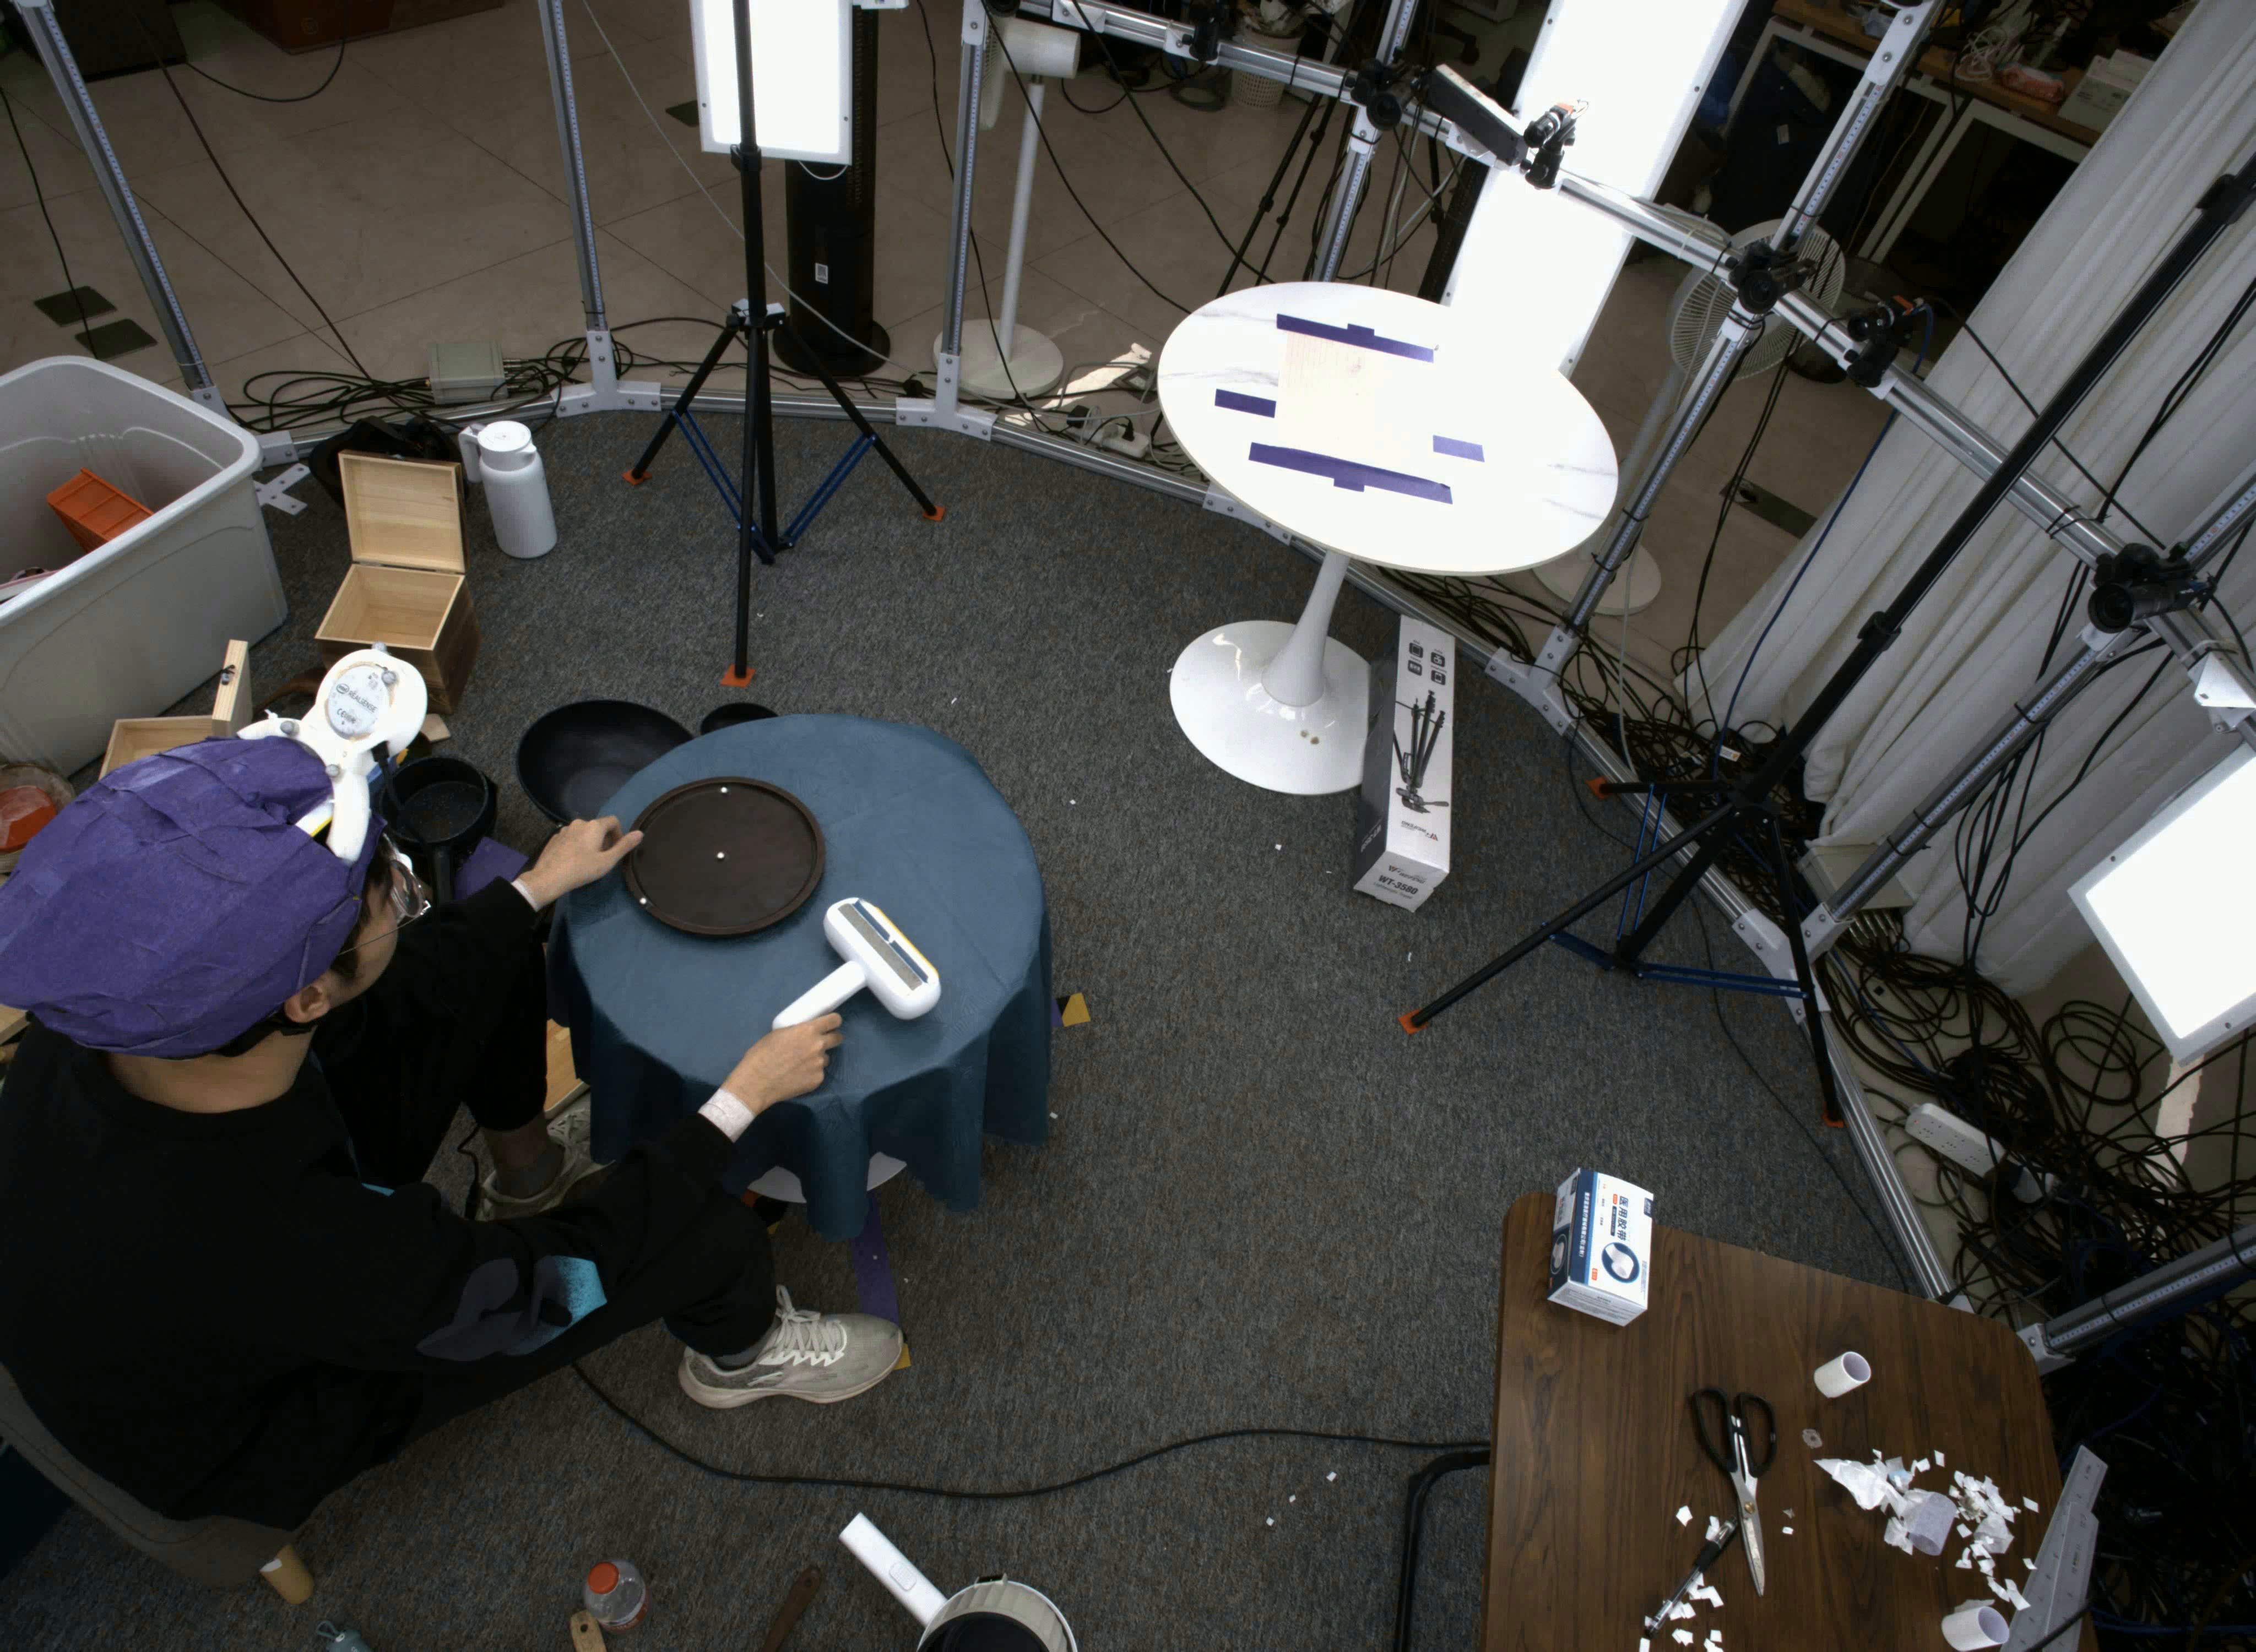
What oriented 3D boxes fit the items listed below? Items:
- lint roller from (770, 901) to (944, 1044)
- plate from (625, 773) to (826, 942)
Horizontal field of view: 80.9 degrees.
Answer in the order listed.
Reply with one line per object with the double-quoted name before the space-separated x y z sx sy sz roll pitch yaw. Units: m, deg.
"lint roller" -0.344 0.192 1.566 0.193 0.076 0.187 -27 59 -28
"plate" -0.517 0.039 1.661 0.254 0.029 0.250 8 54 -9
